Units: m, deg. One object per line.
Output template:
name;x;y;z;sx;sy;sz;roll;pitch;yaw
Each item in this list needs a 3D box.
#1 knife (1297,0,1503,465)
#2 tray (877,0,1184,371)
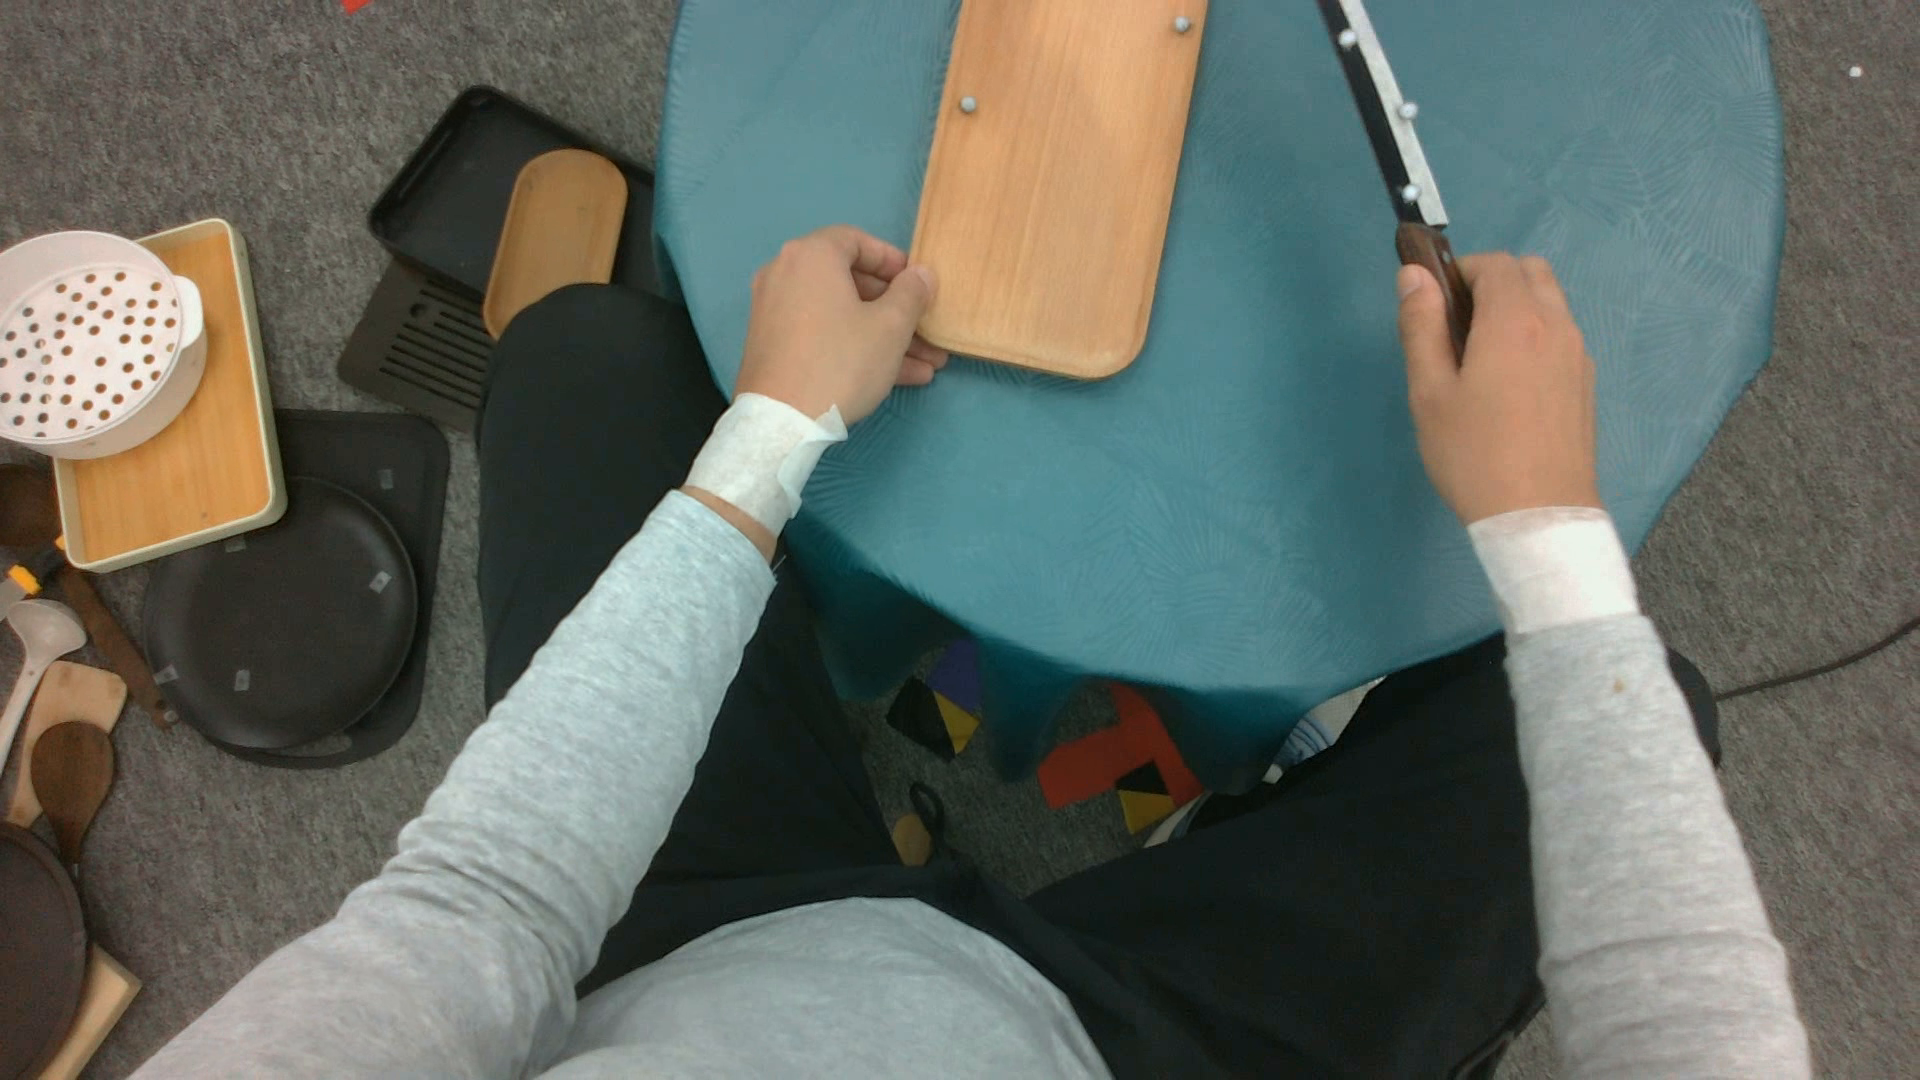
knife;0.201;-0.174;0.655;0.050;0.020;0.289;-13;84;-45
tray;0.039;-0.213;0.722;0.130;0.023;0.251;12;80;0
